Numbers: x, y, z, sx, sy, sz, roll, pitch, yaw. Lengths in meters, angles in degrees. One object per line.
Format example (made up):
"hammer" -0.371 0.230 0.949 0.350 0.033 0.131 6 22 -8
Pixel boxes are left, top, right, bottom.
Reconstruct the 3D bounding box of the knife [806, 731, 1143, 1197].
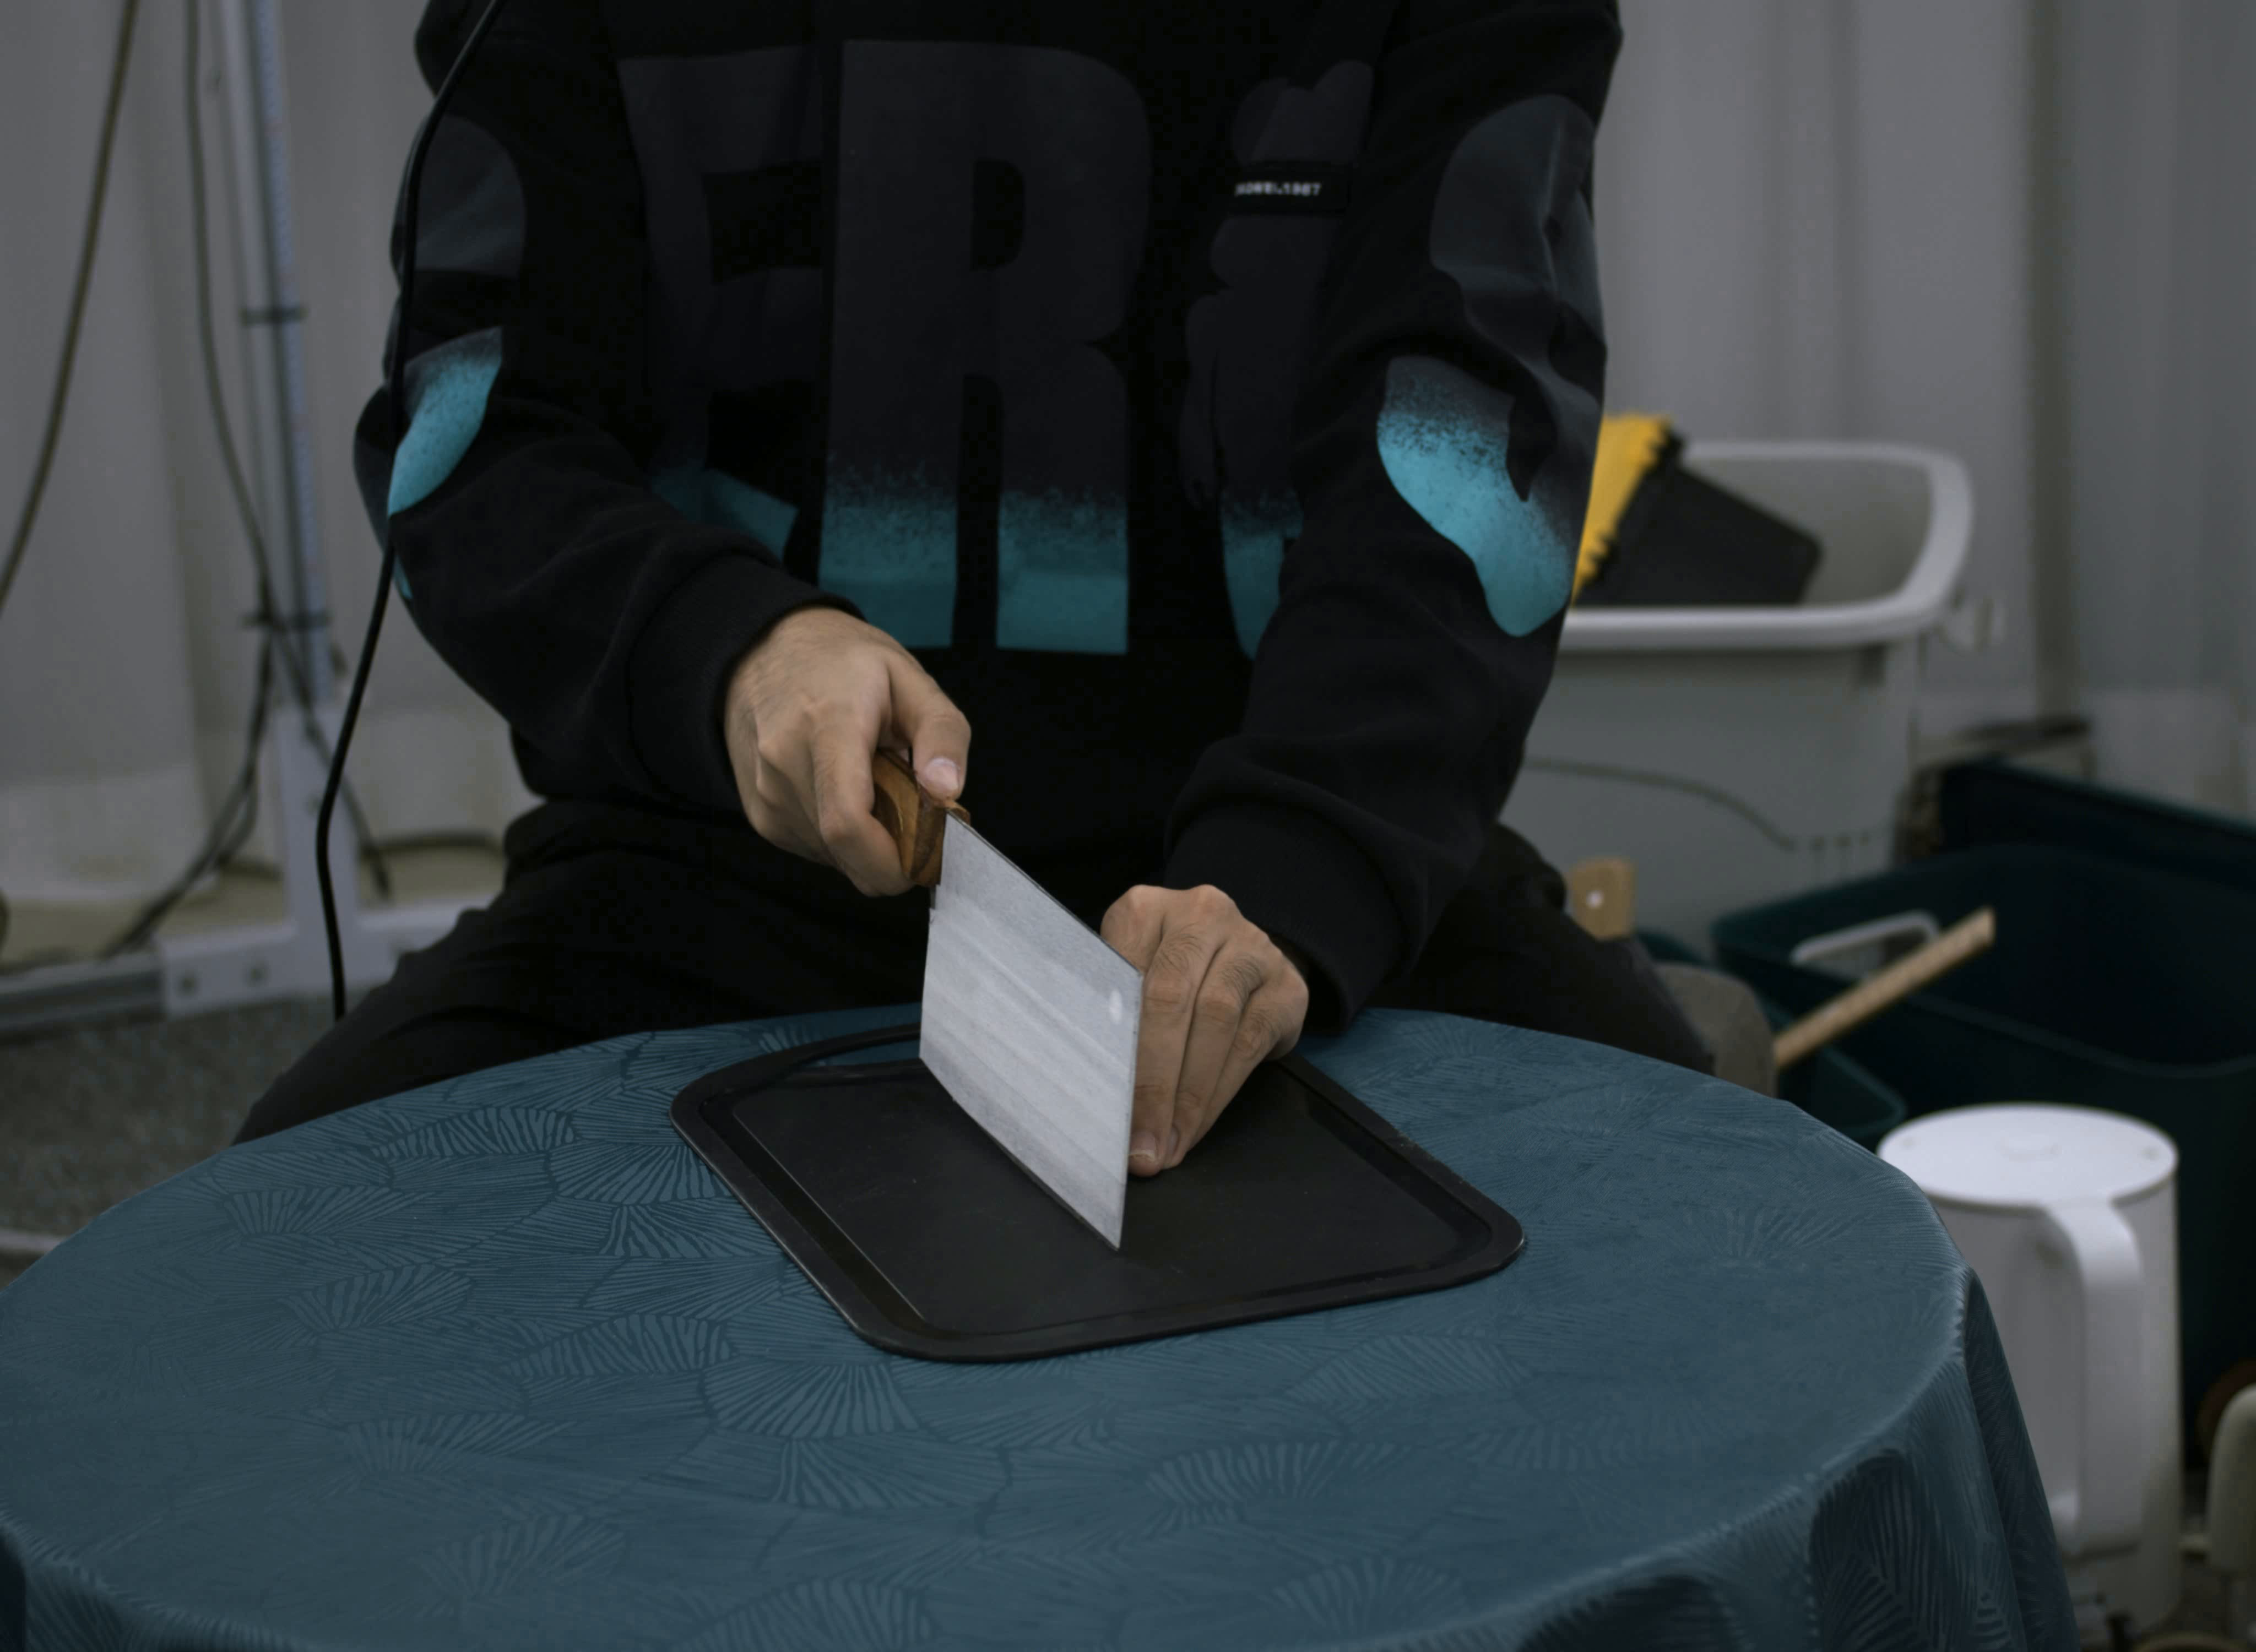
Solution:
"knife" -0.052 0.044 1.775 0.021 0.092 0.308 0 16 -21

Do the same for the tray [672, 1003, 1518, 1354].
"tray" -0.021 0.105 1.741 0.210 0.010 0.328 -8 16 -17
